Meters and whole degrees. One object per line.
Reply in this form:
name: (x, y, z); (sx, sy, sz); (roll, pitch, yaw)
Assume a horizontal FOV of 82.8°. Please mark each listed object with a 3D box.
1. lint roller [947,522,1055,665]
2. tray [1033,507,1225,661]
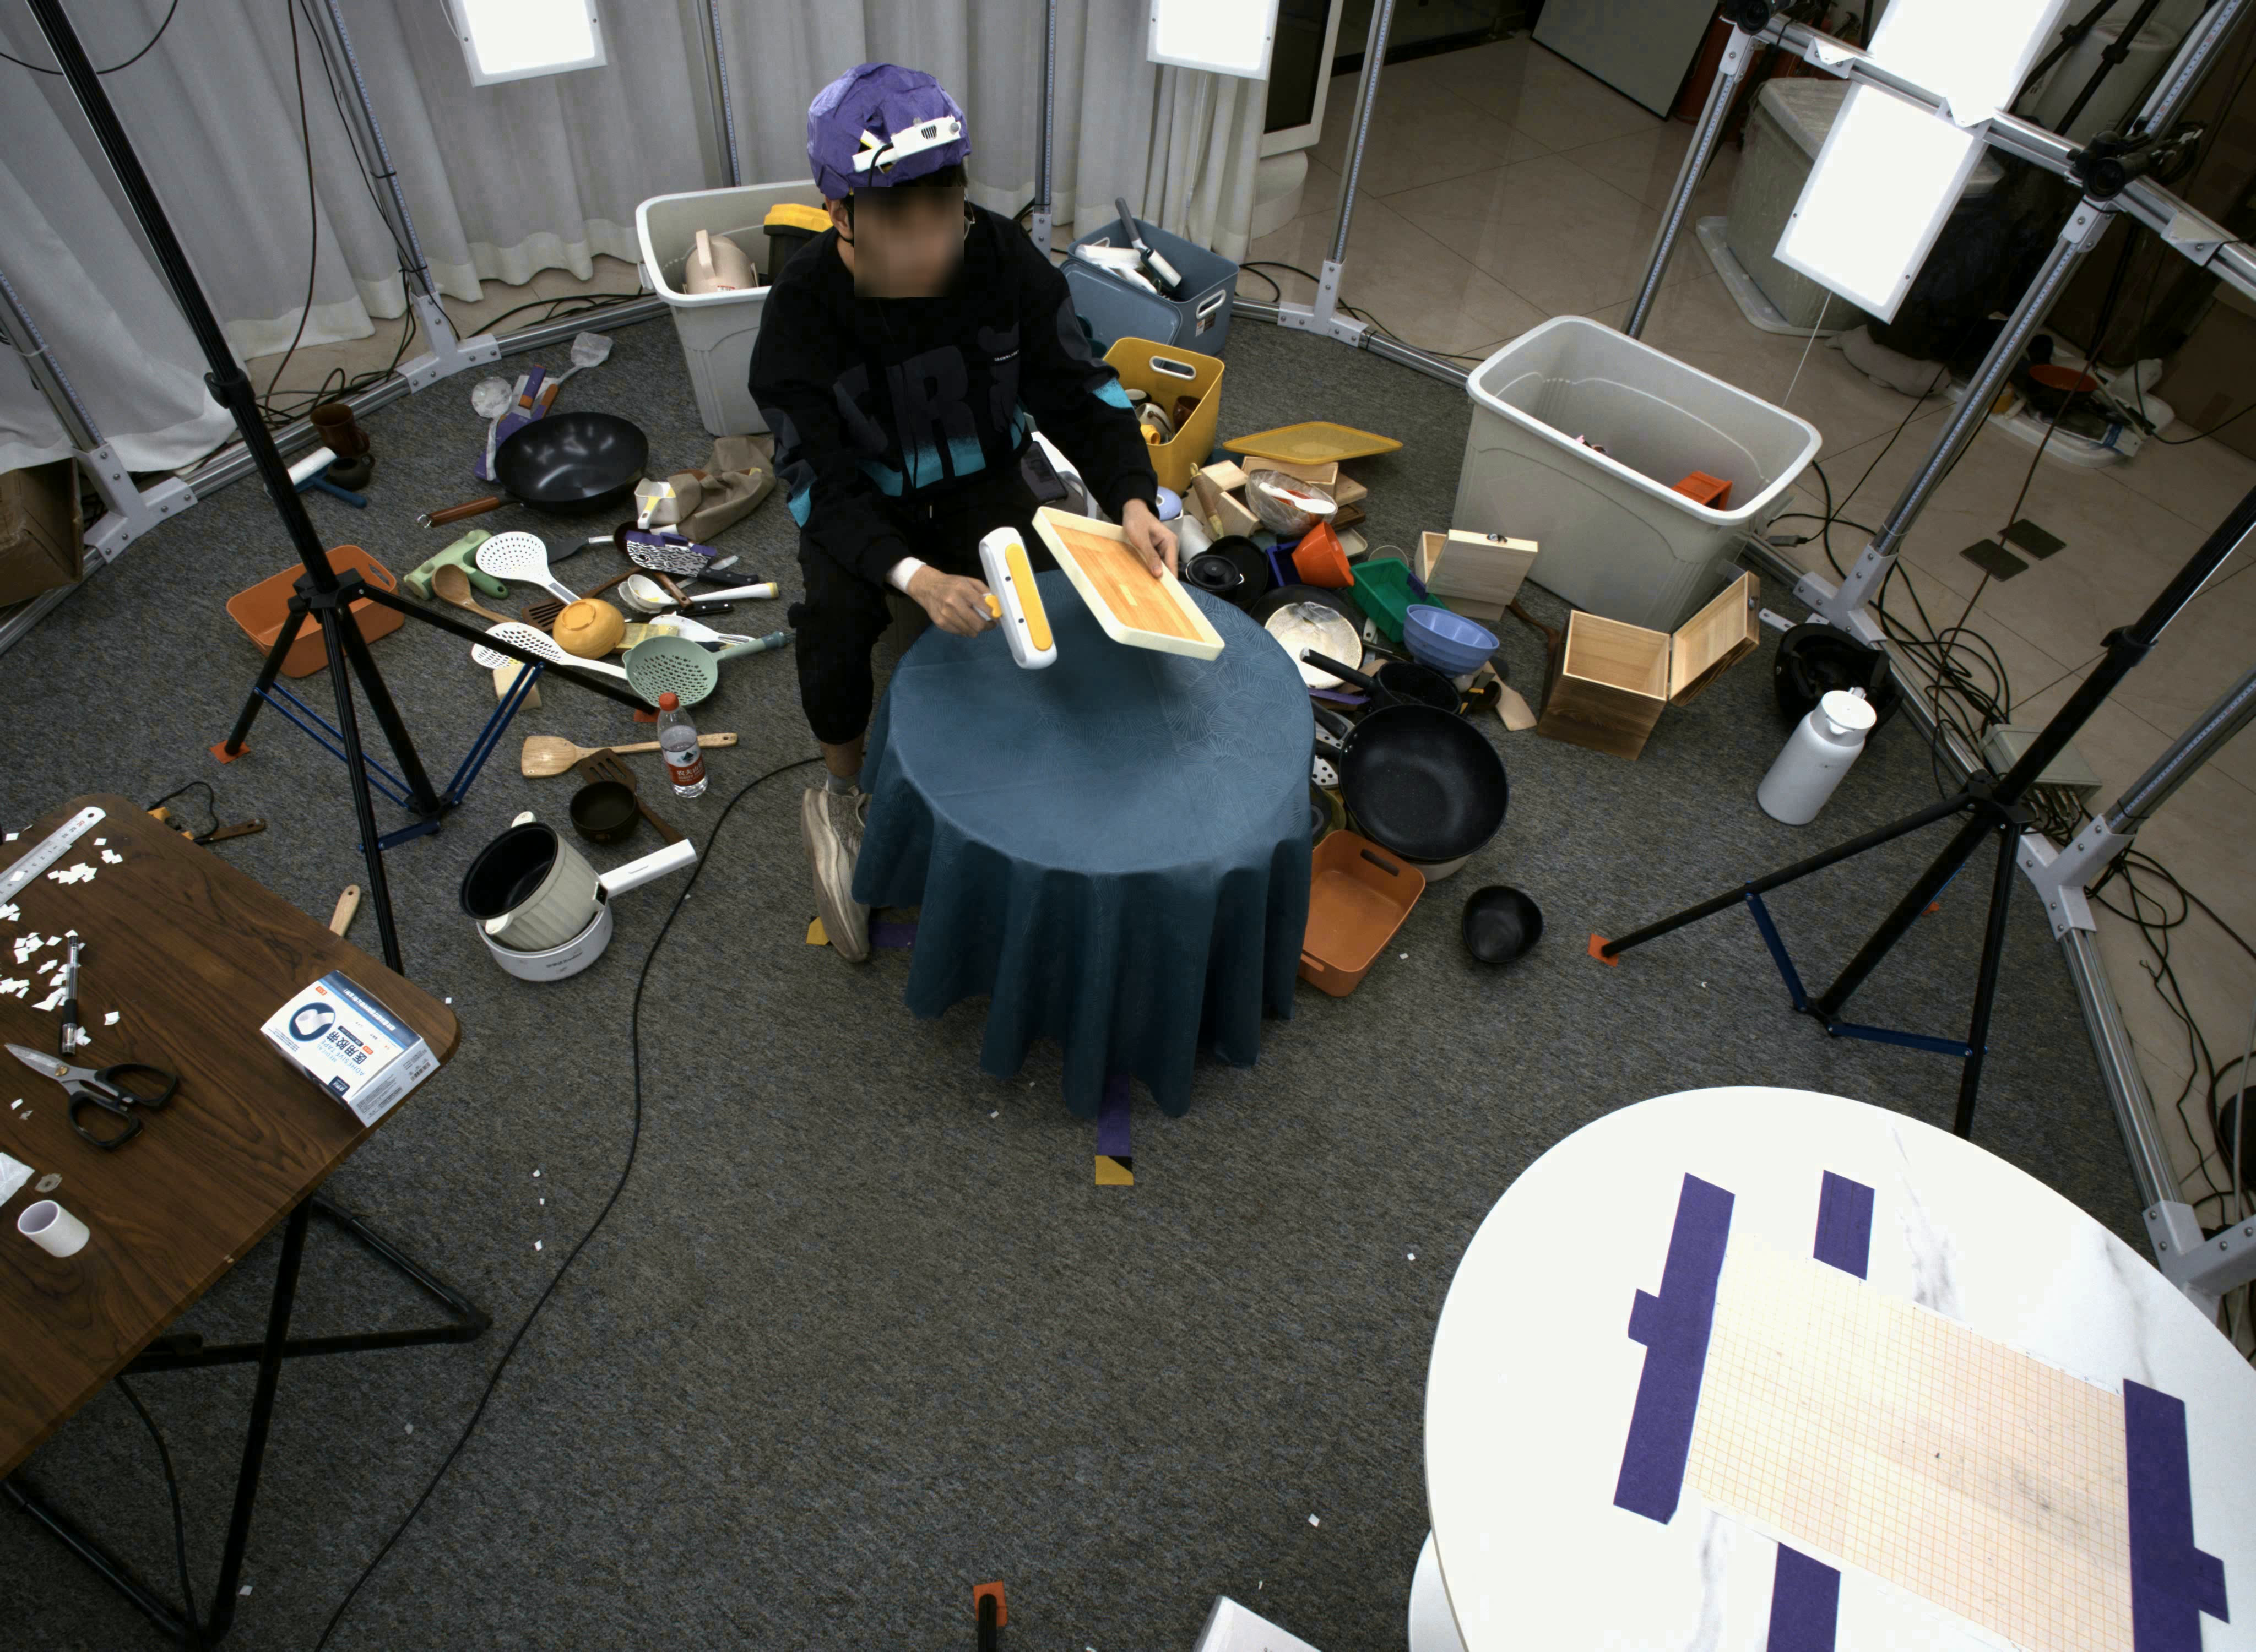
lint roller: (-0.185, -0.304, 1.763); (0.074, 0.191, 0.193); (-28, 11, -27)
tray: (-0.001, -0.341, 1.806); (0.190, 0.027, 0.307); (6, 38, -37)
